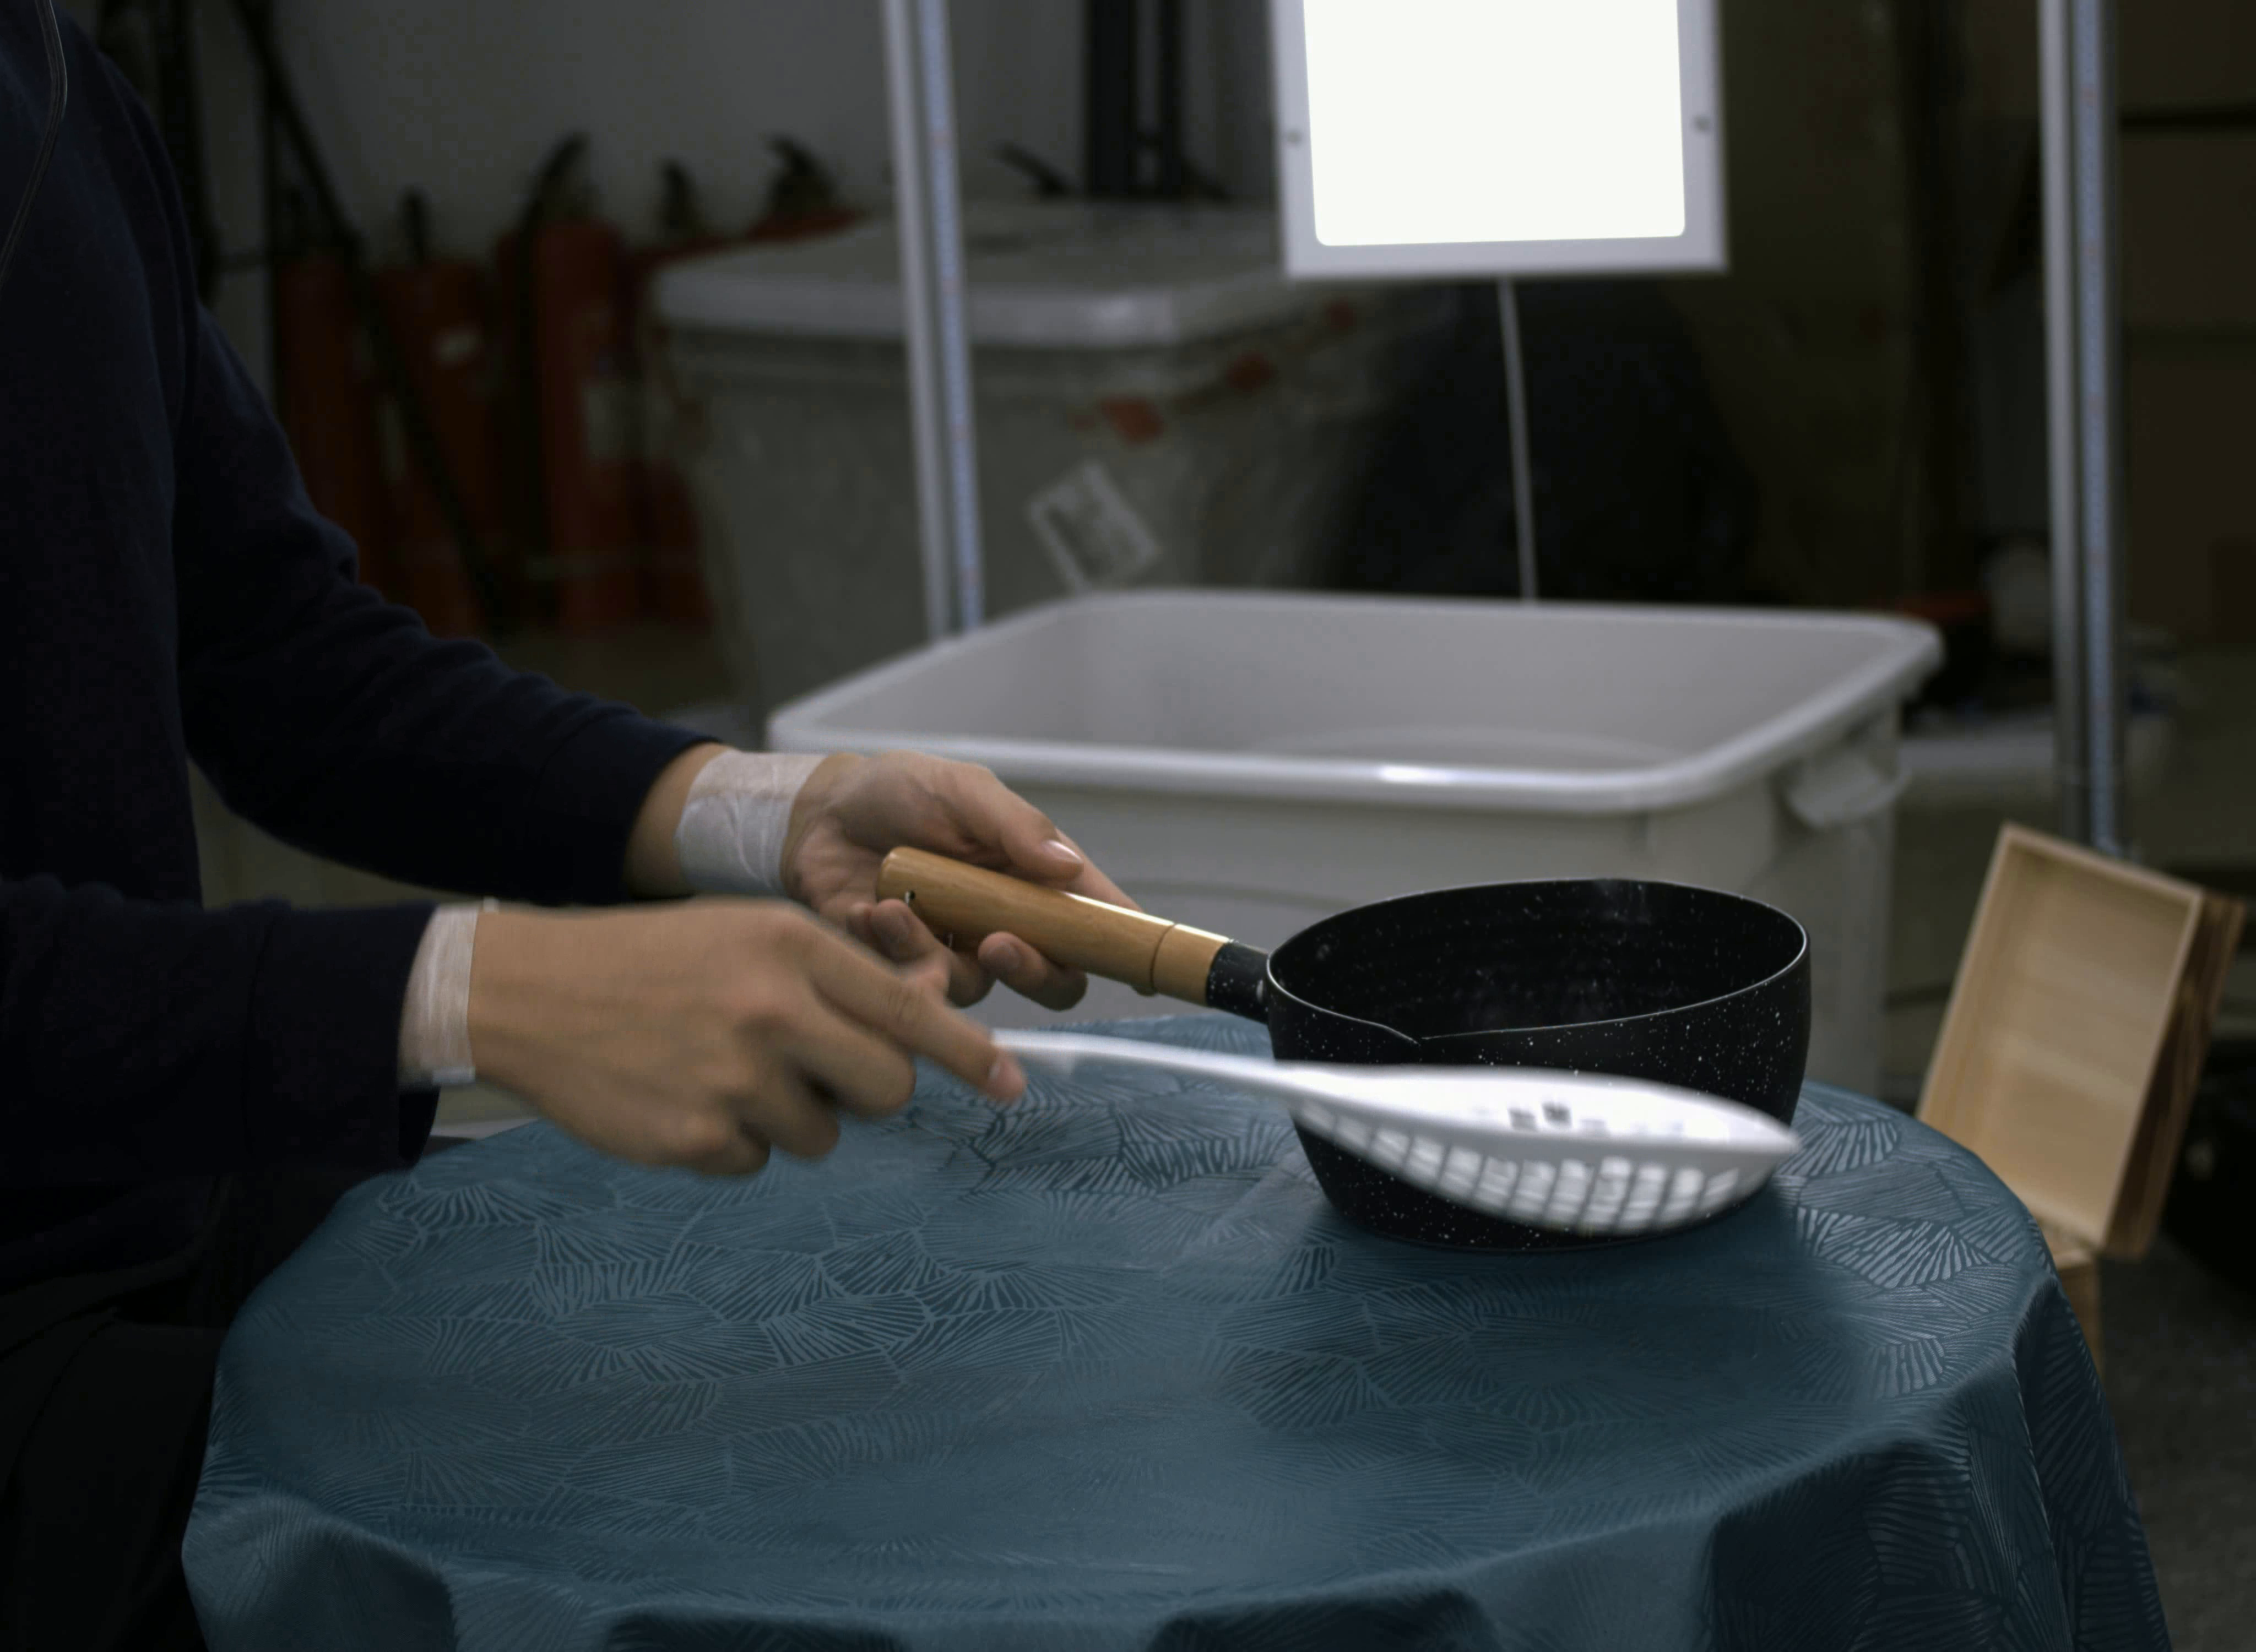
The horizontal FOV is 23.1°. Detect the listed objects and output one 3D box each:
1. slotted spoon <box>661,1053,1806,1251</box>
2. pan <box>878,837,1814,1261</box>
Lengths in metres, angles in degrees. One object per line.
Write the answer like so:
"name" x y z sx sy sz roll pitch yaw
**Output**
"slotted spoon" 0.033 0.089 1.675 0.346 0.050 0.137 10 4 -4
"pan" 0.068 0.067 1.886 0.348 0.108 0.203 3 17 26
